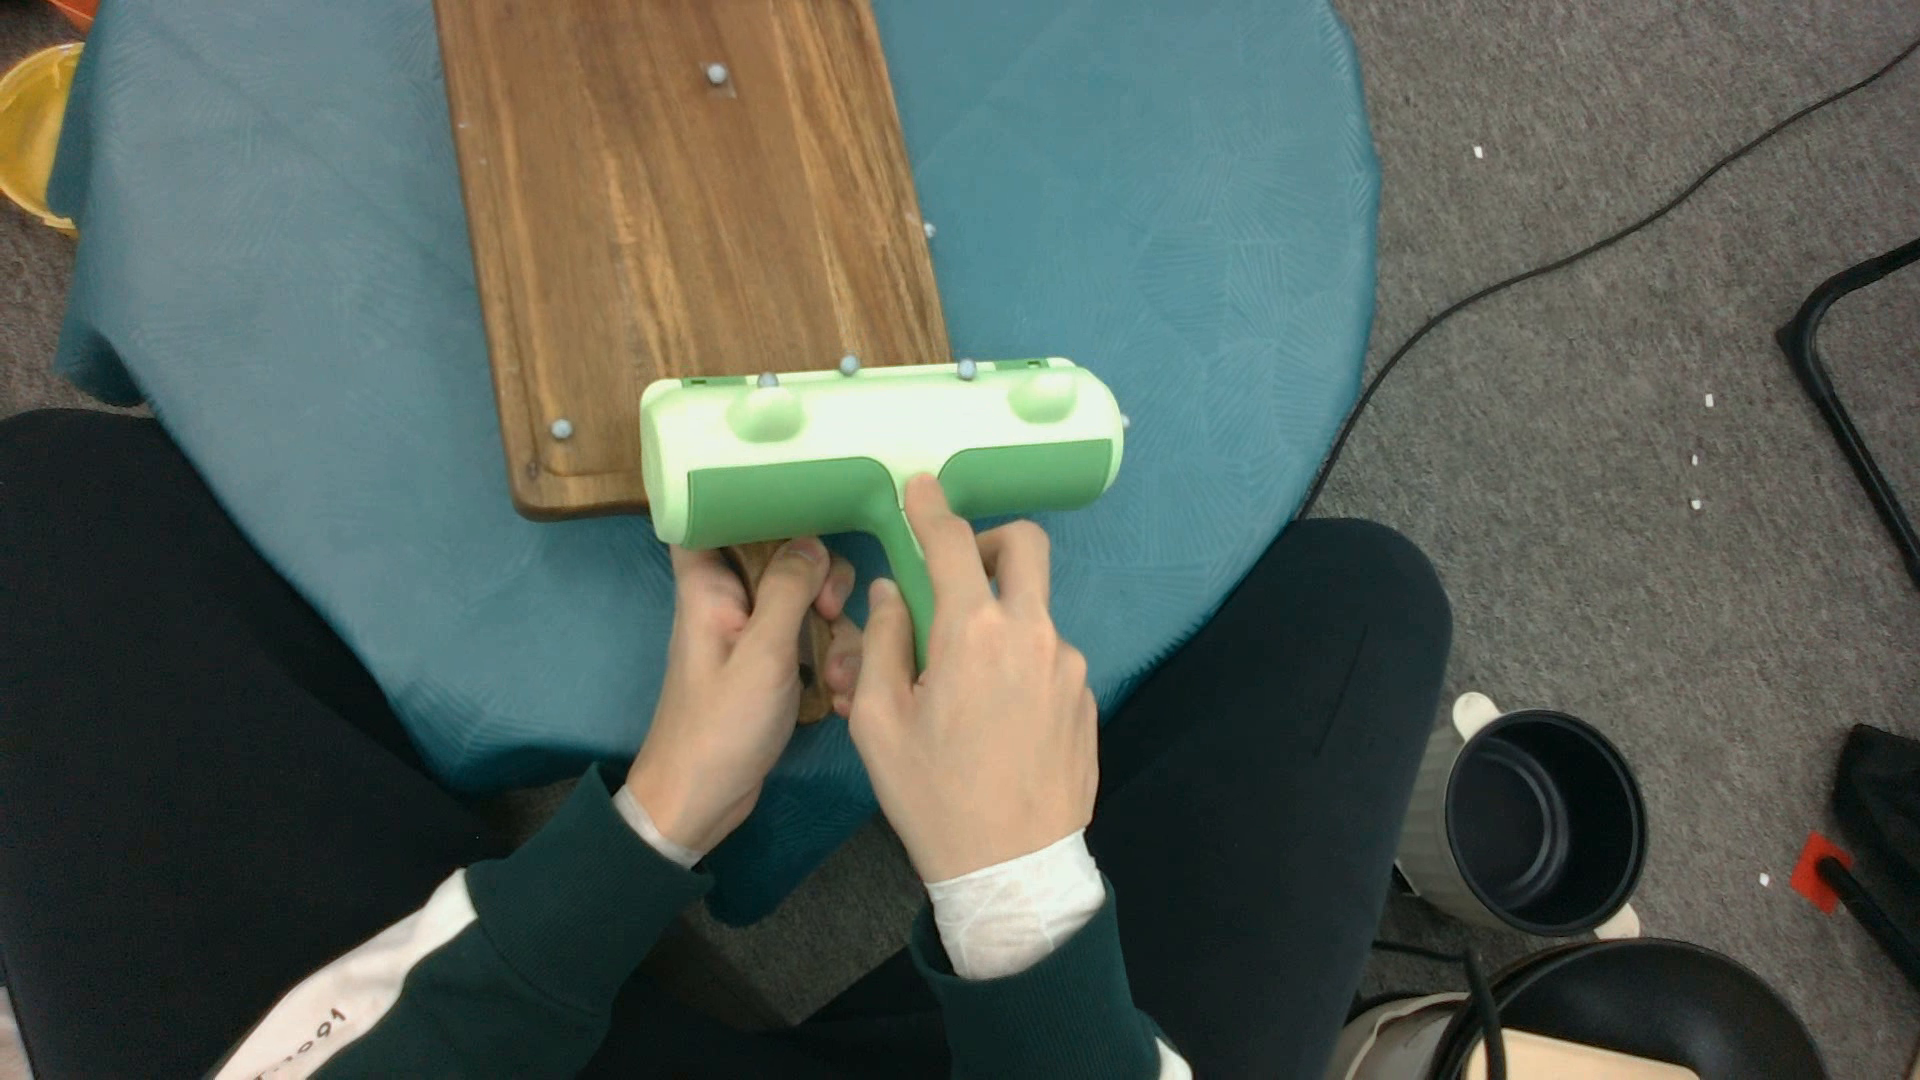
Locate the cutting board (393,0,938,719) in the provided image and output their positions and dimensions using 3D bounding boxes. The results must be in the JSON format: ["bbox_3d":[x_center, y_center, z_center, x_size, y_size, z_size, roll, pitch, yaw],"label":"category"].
[{"bbox_3d":[-0.110,-0.095,0.593,0.201,0.023,0.352,-10,78,-24],"label":"cutting board"}]

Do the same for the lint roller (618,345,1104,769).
[{"bbox_3d":[-0.015,-0.007,0.524,0.199,0.082,0.184,-8,50,-24],"label":"lint roller"}]
